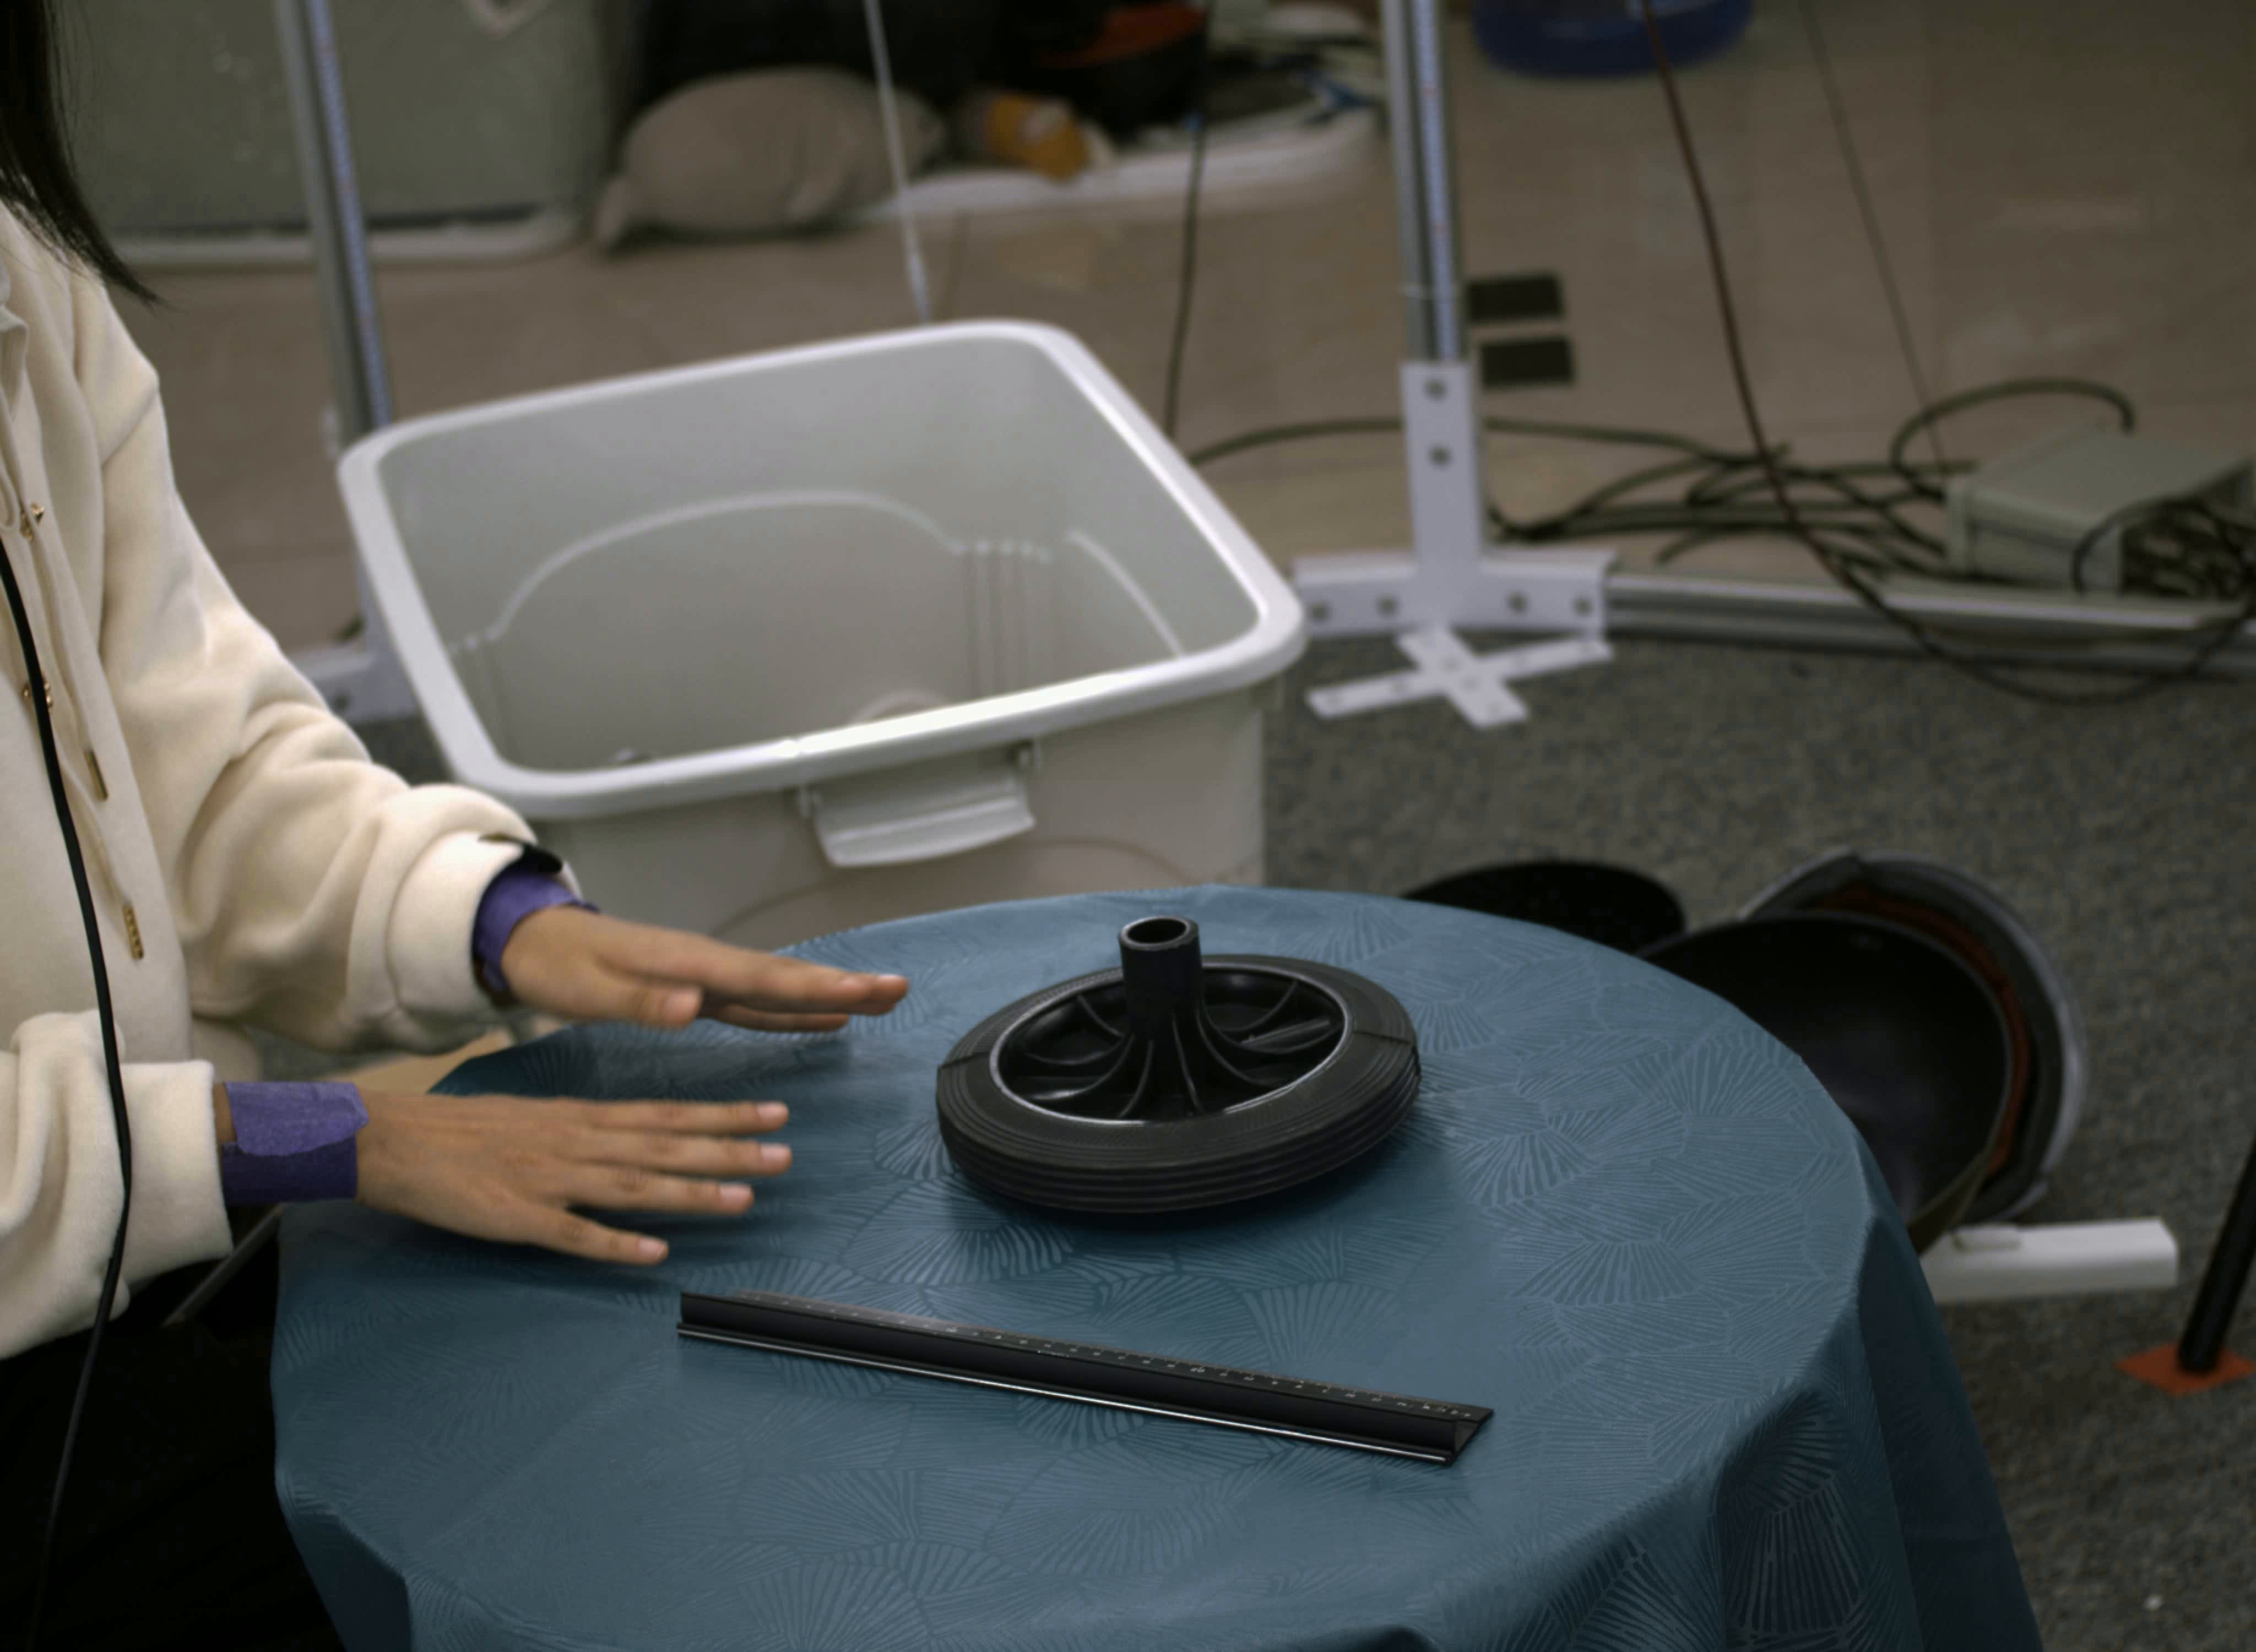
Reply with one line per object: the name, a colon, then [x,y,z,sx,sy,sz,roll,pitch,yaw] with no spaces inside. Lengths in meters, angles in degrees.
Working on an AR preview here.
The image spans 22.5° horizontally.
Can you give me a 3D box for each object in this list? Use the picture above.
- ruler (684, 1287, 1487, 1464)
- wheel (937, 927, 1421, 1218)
ruler: [-0.019,0.189,2.027,0.311,0.017,0.039,7,24,28]
wheel: [0.017,0.081,2.178,0.186,0.080,0.188,16,32,43]
